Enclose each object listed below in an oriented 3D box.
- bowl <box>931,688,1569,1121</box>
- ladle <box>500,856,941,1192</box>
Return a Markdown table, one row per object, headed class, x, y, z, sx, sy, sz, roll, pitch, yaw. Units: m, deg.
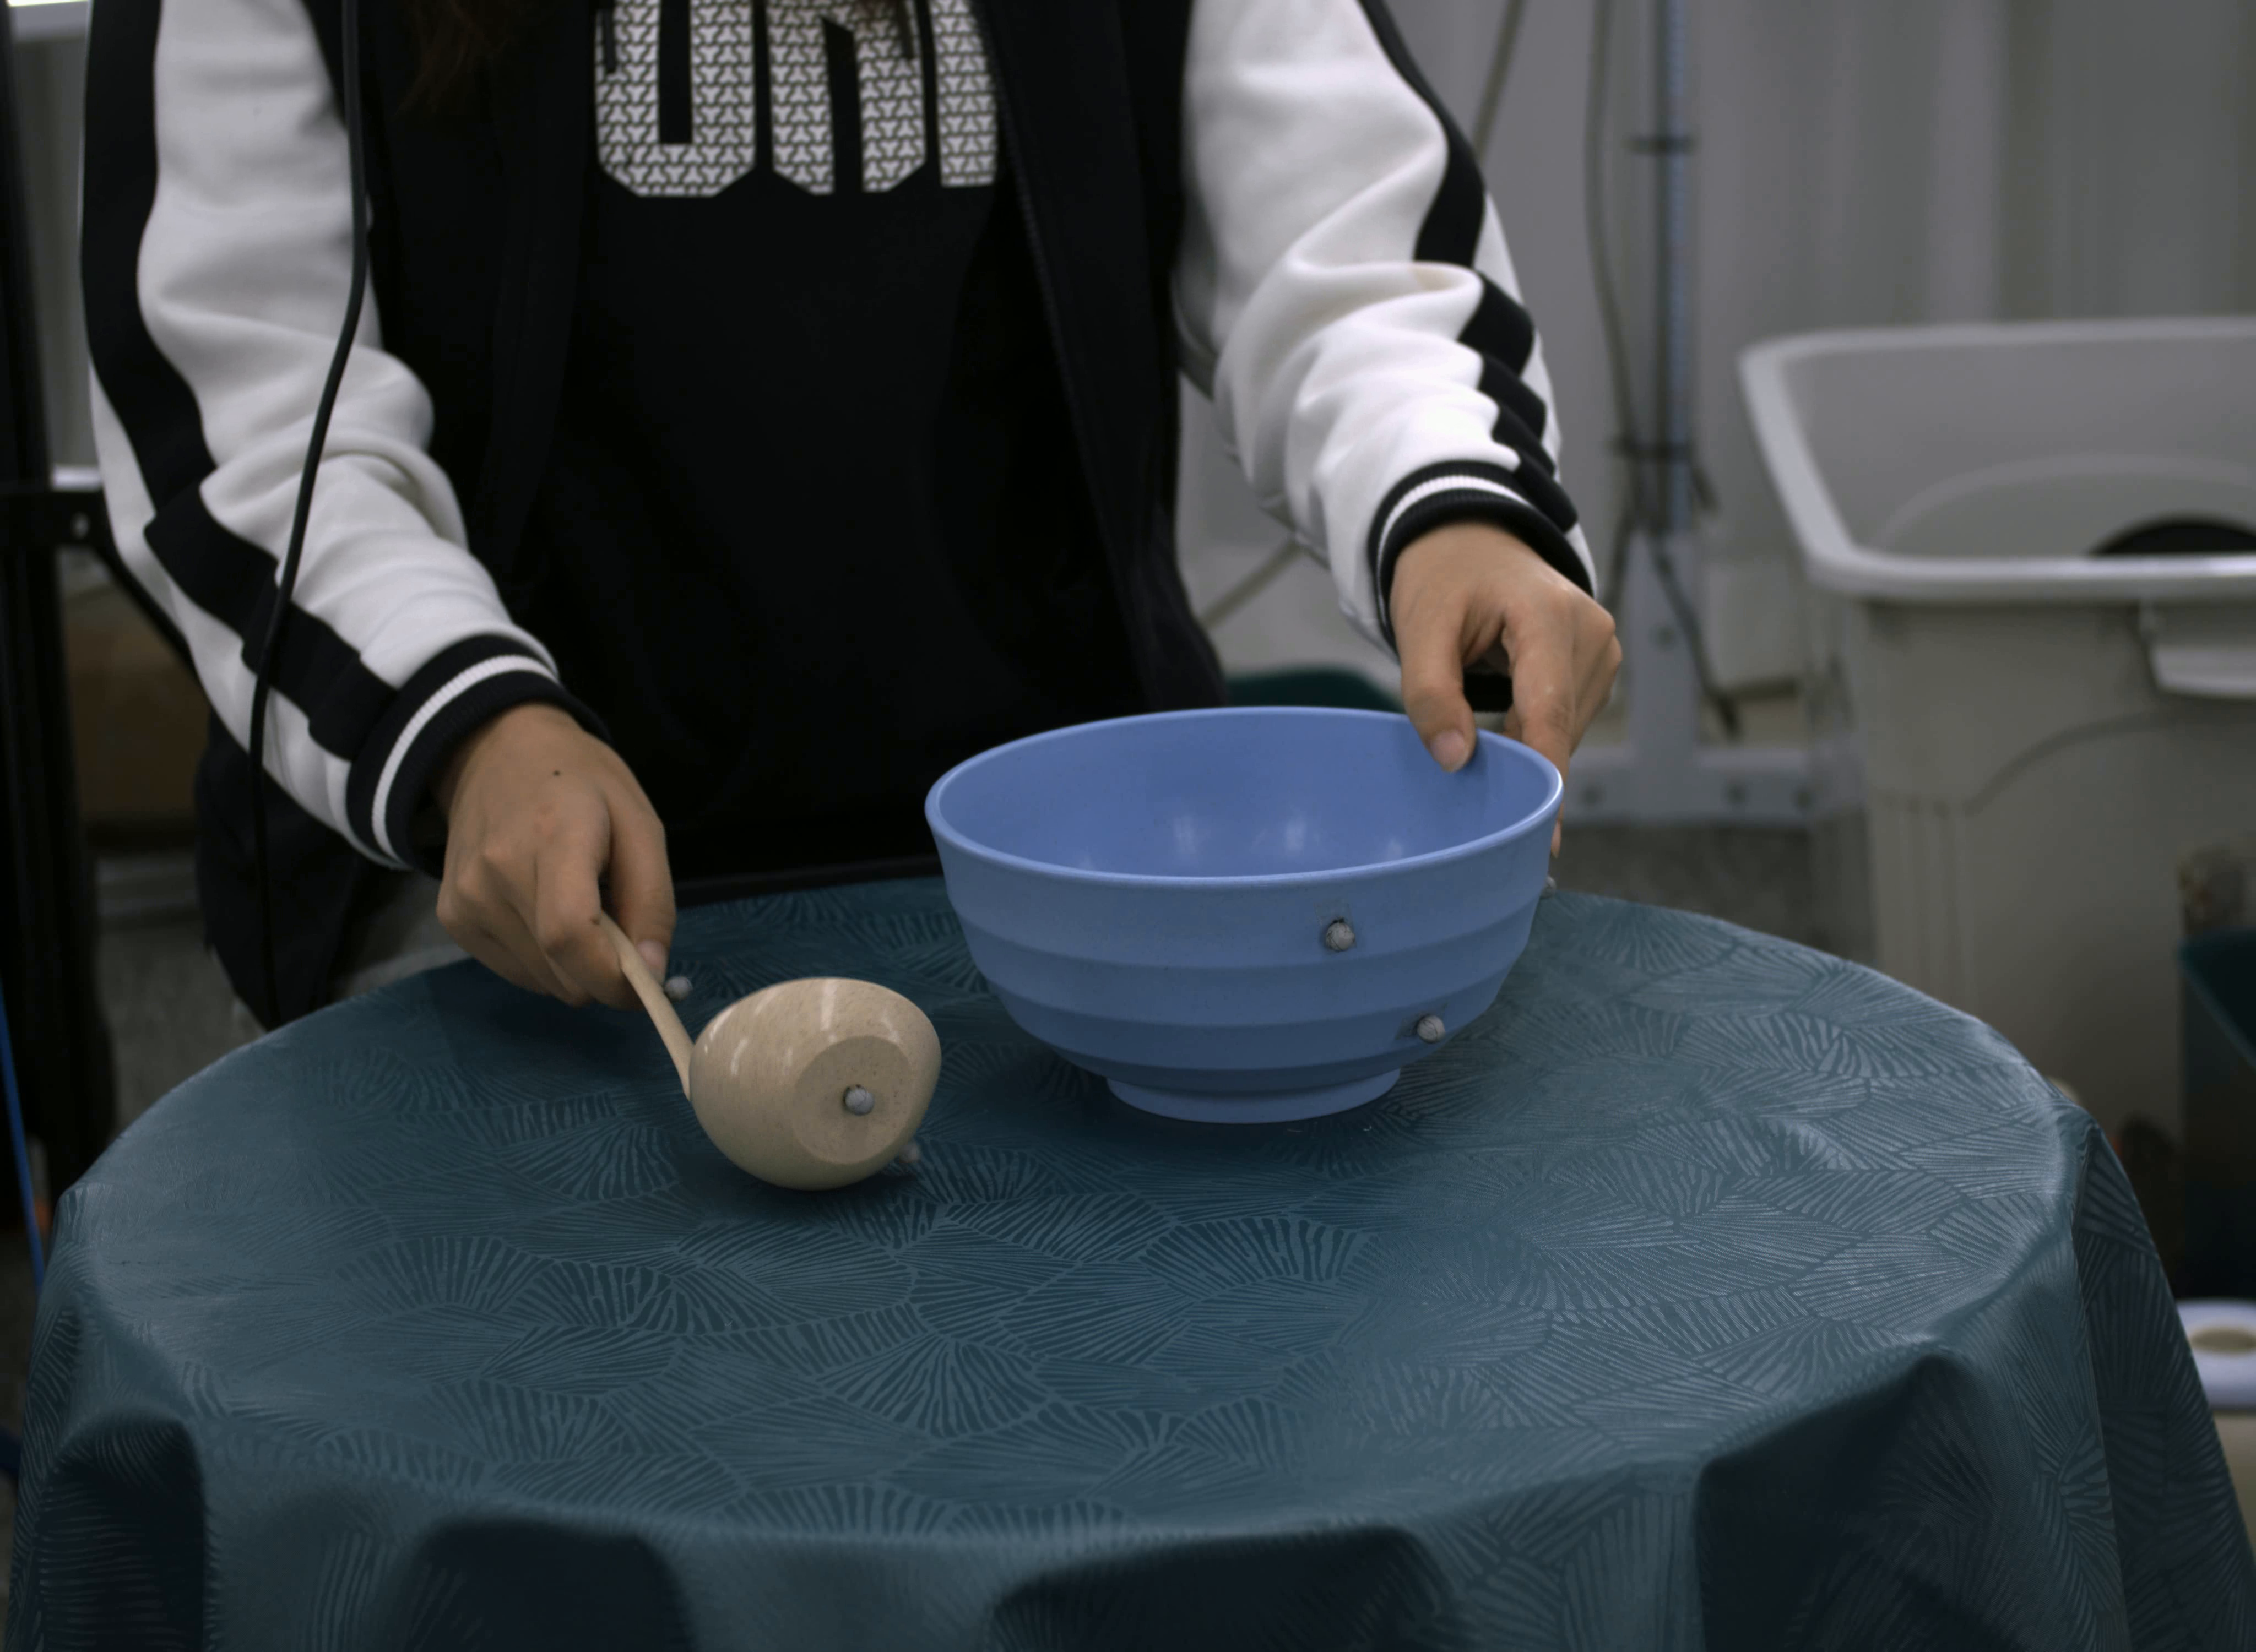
| class | x | y | z | sx | sy | sz | roll | pitch | yaw |
| --- | --- | --- | --- | --- | --- | --- | --- | --- | --- |
| bowl | 0.037 | 0.031 | 1.643 | 0.195 | 0.095 | 0.197 | -1 | 18 | -1 |
| ladle | -0.130 | 0.034 | 1.647 | 0.070 | 0.073 | 0.260 | 34 | 6 | -33 |
